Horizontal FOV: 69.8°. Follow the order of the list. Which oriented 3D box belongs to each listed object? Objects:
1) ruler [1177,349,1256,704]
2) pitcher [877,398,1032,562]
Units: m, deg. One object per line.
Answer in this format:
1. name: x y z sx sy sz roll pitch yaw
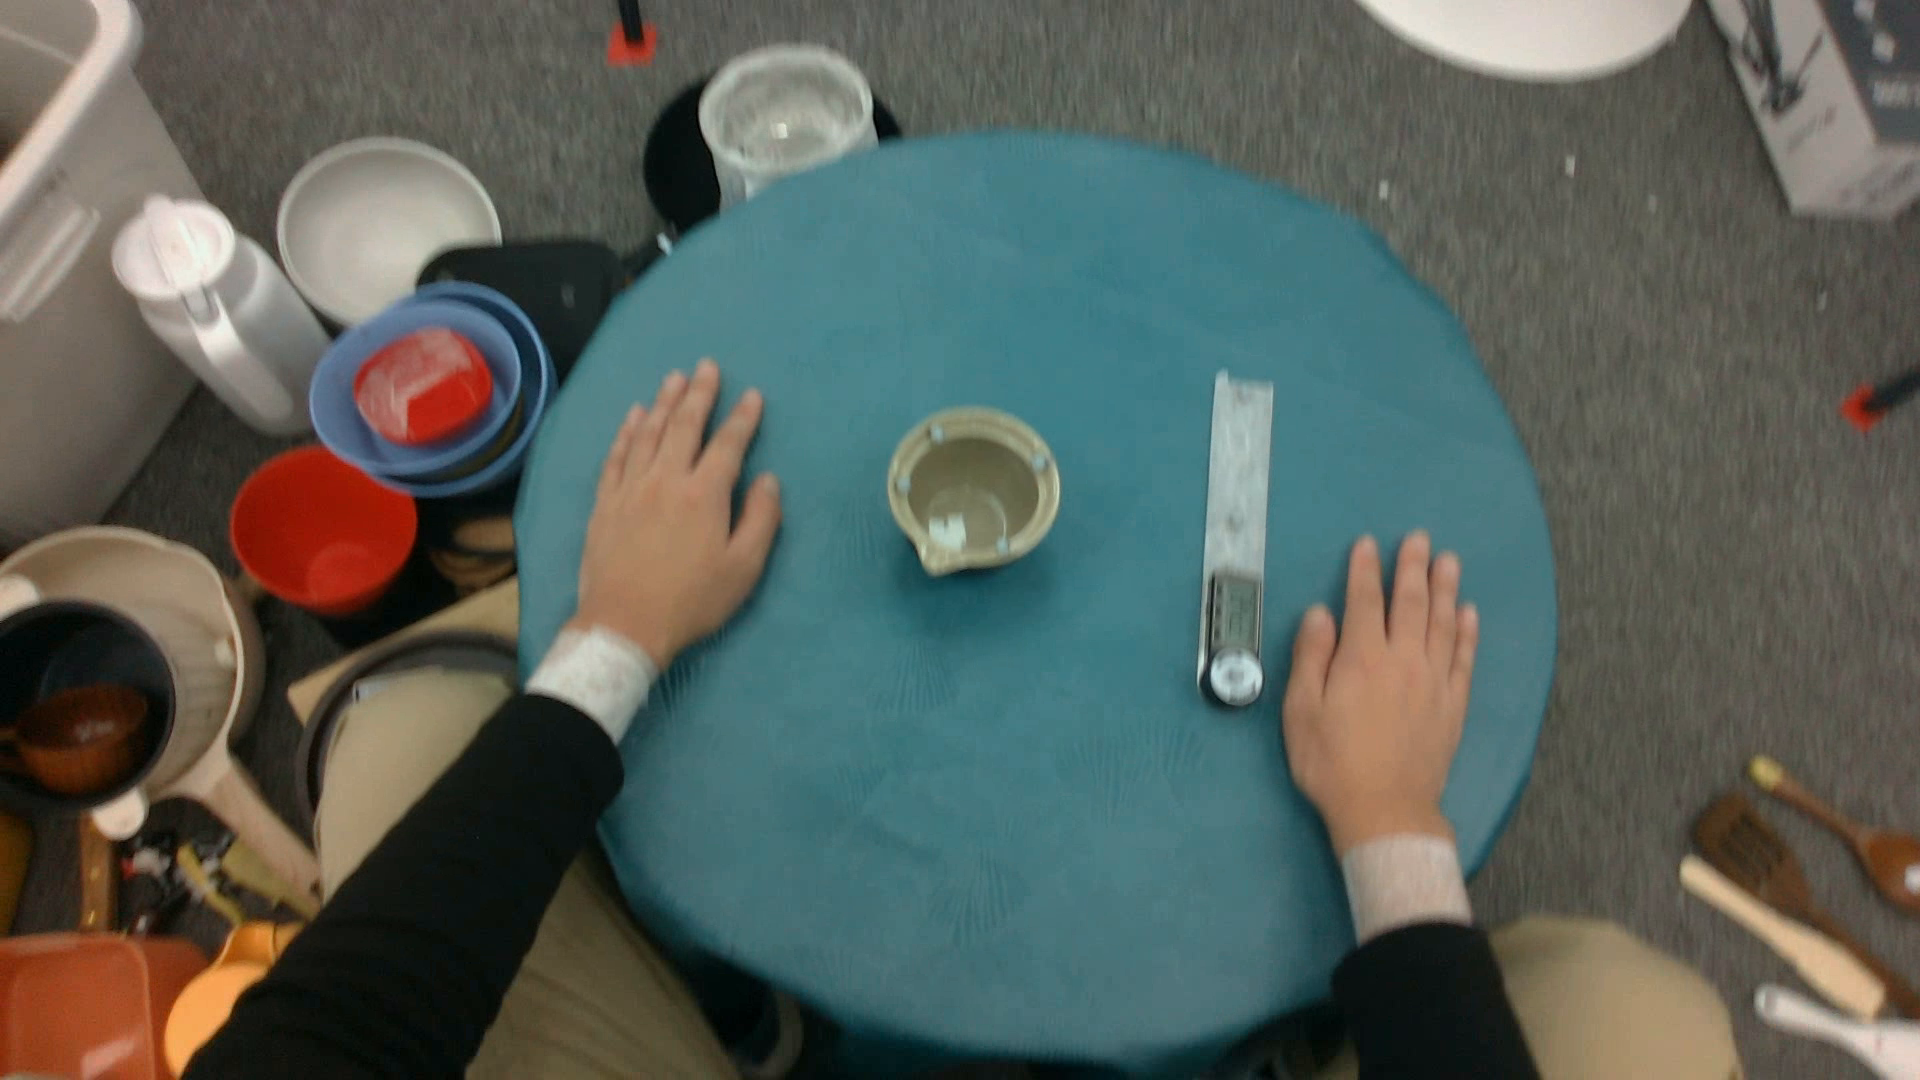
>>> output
1. ruler: 0.152 -0.014 0.795 0.038 0.024 0.219 10 70 -8
2. pitcher: -0.007 -0.023 0.757 0.083 0.071 0.096 24 69 3
